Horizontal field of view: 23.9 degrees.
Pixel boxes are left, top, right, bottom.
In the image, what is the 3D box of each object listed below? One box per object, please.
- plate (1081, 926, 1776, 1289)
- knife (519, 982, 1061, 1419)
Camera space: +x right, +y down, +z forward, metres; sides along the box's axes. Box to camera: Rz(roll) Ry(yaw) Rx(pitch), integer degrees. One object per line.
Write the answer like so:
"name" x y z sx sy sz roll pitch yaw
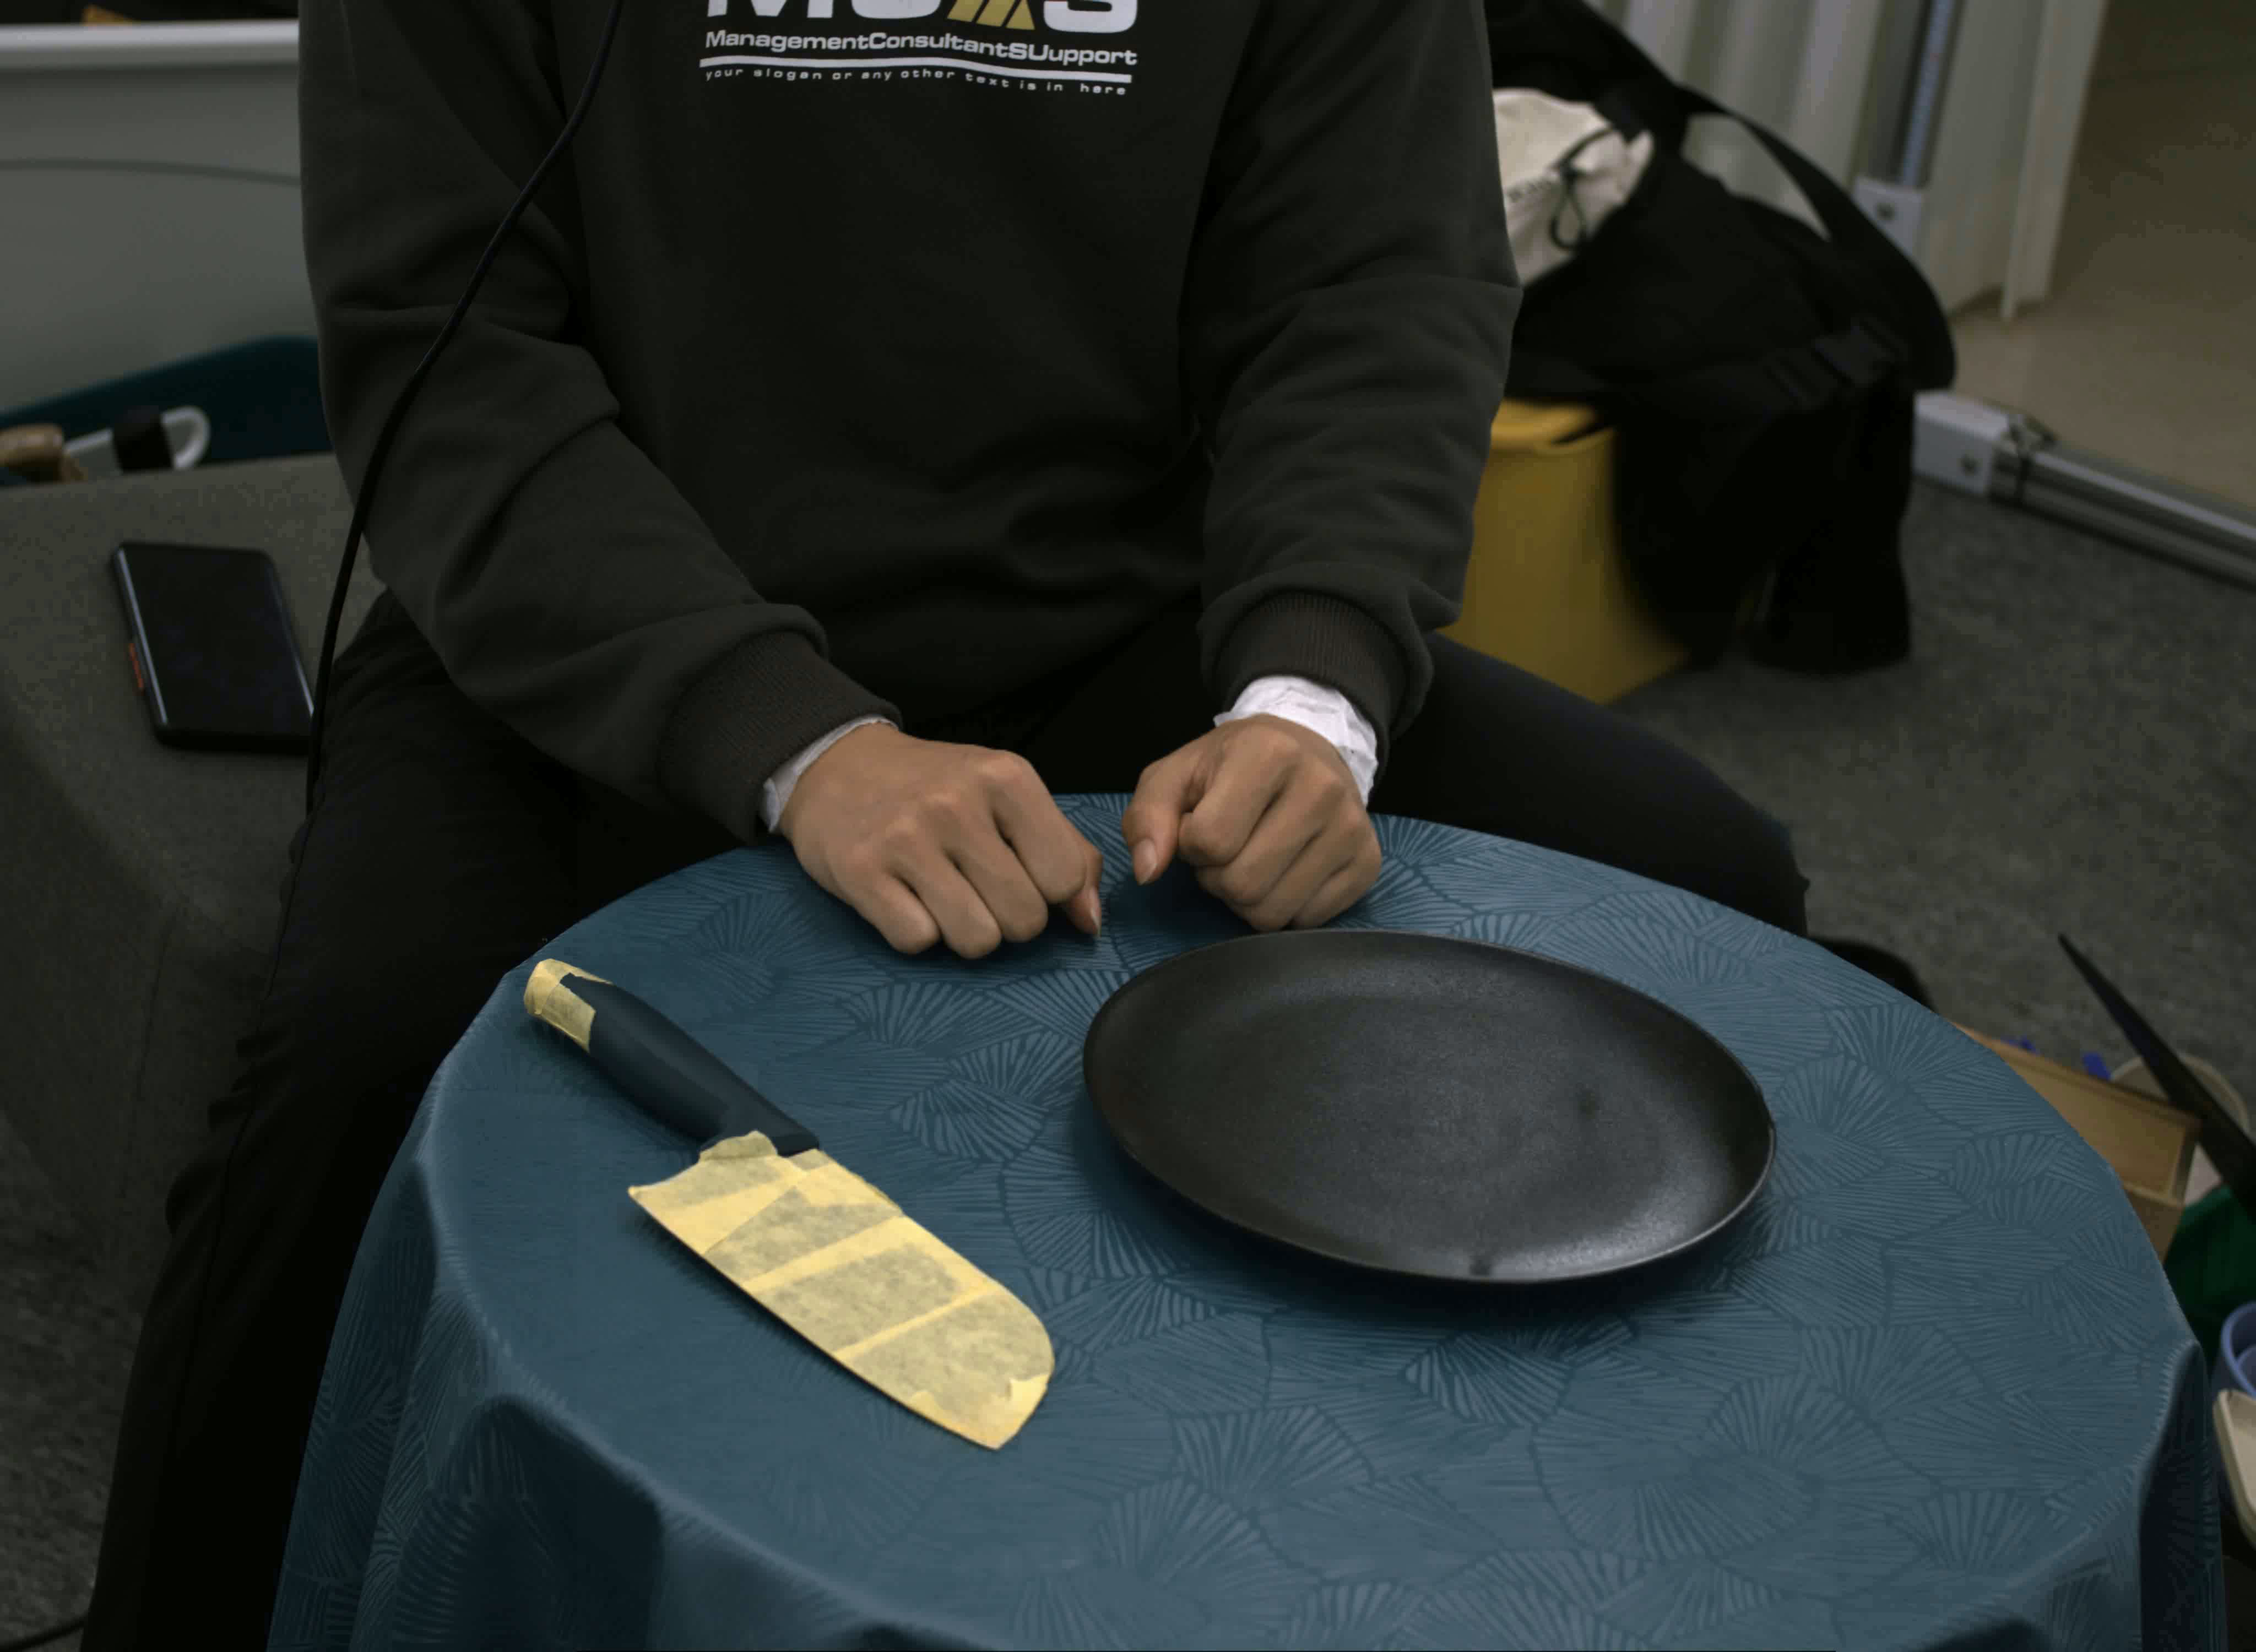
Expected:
"plate" 0.103 0.102 1.847 0.243 0.023 0.246 5 27 -3
"knife" -0.122 0.124 1.761 0.080 0.027 0.292 -14 34 -38
